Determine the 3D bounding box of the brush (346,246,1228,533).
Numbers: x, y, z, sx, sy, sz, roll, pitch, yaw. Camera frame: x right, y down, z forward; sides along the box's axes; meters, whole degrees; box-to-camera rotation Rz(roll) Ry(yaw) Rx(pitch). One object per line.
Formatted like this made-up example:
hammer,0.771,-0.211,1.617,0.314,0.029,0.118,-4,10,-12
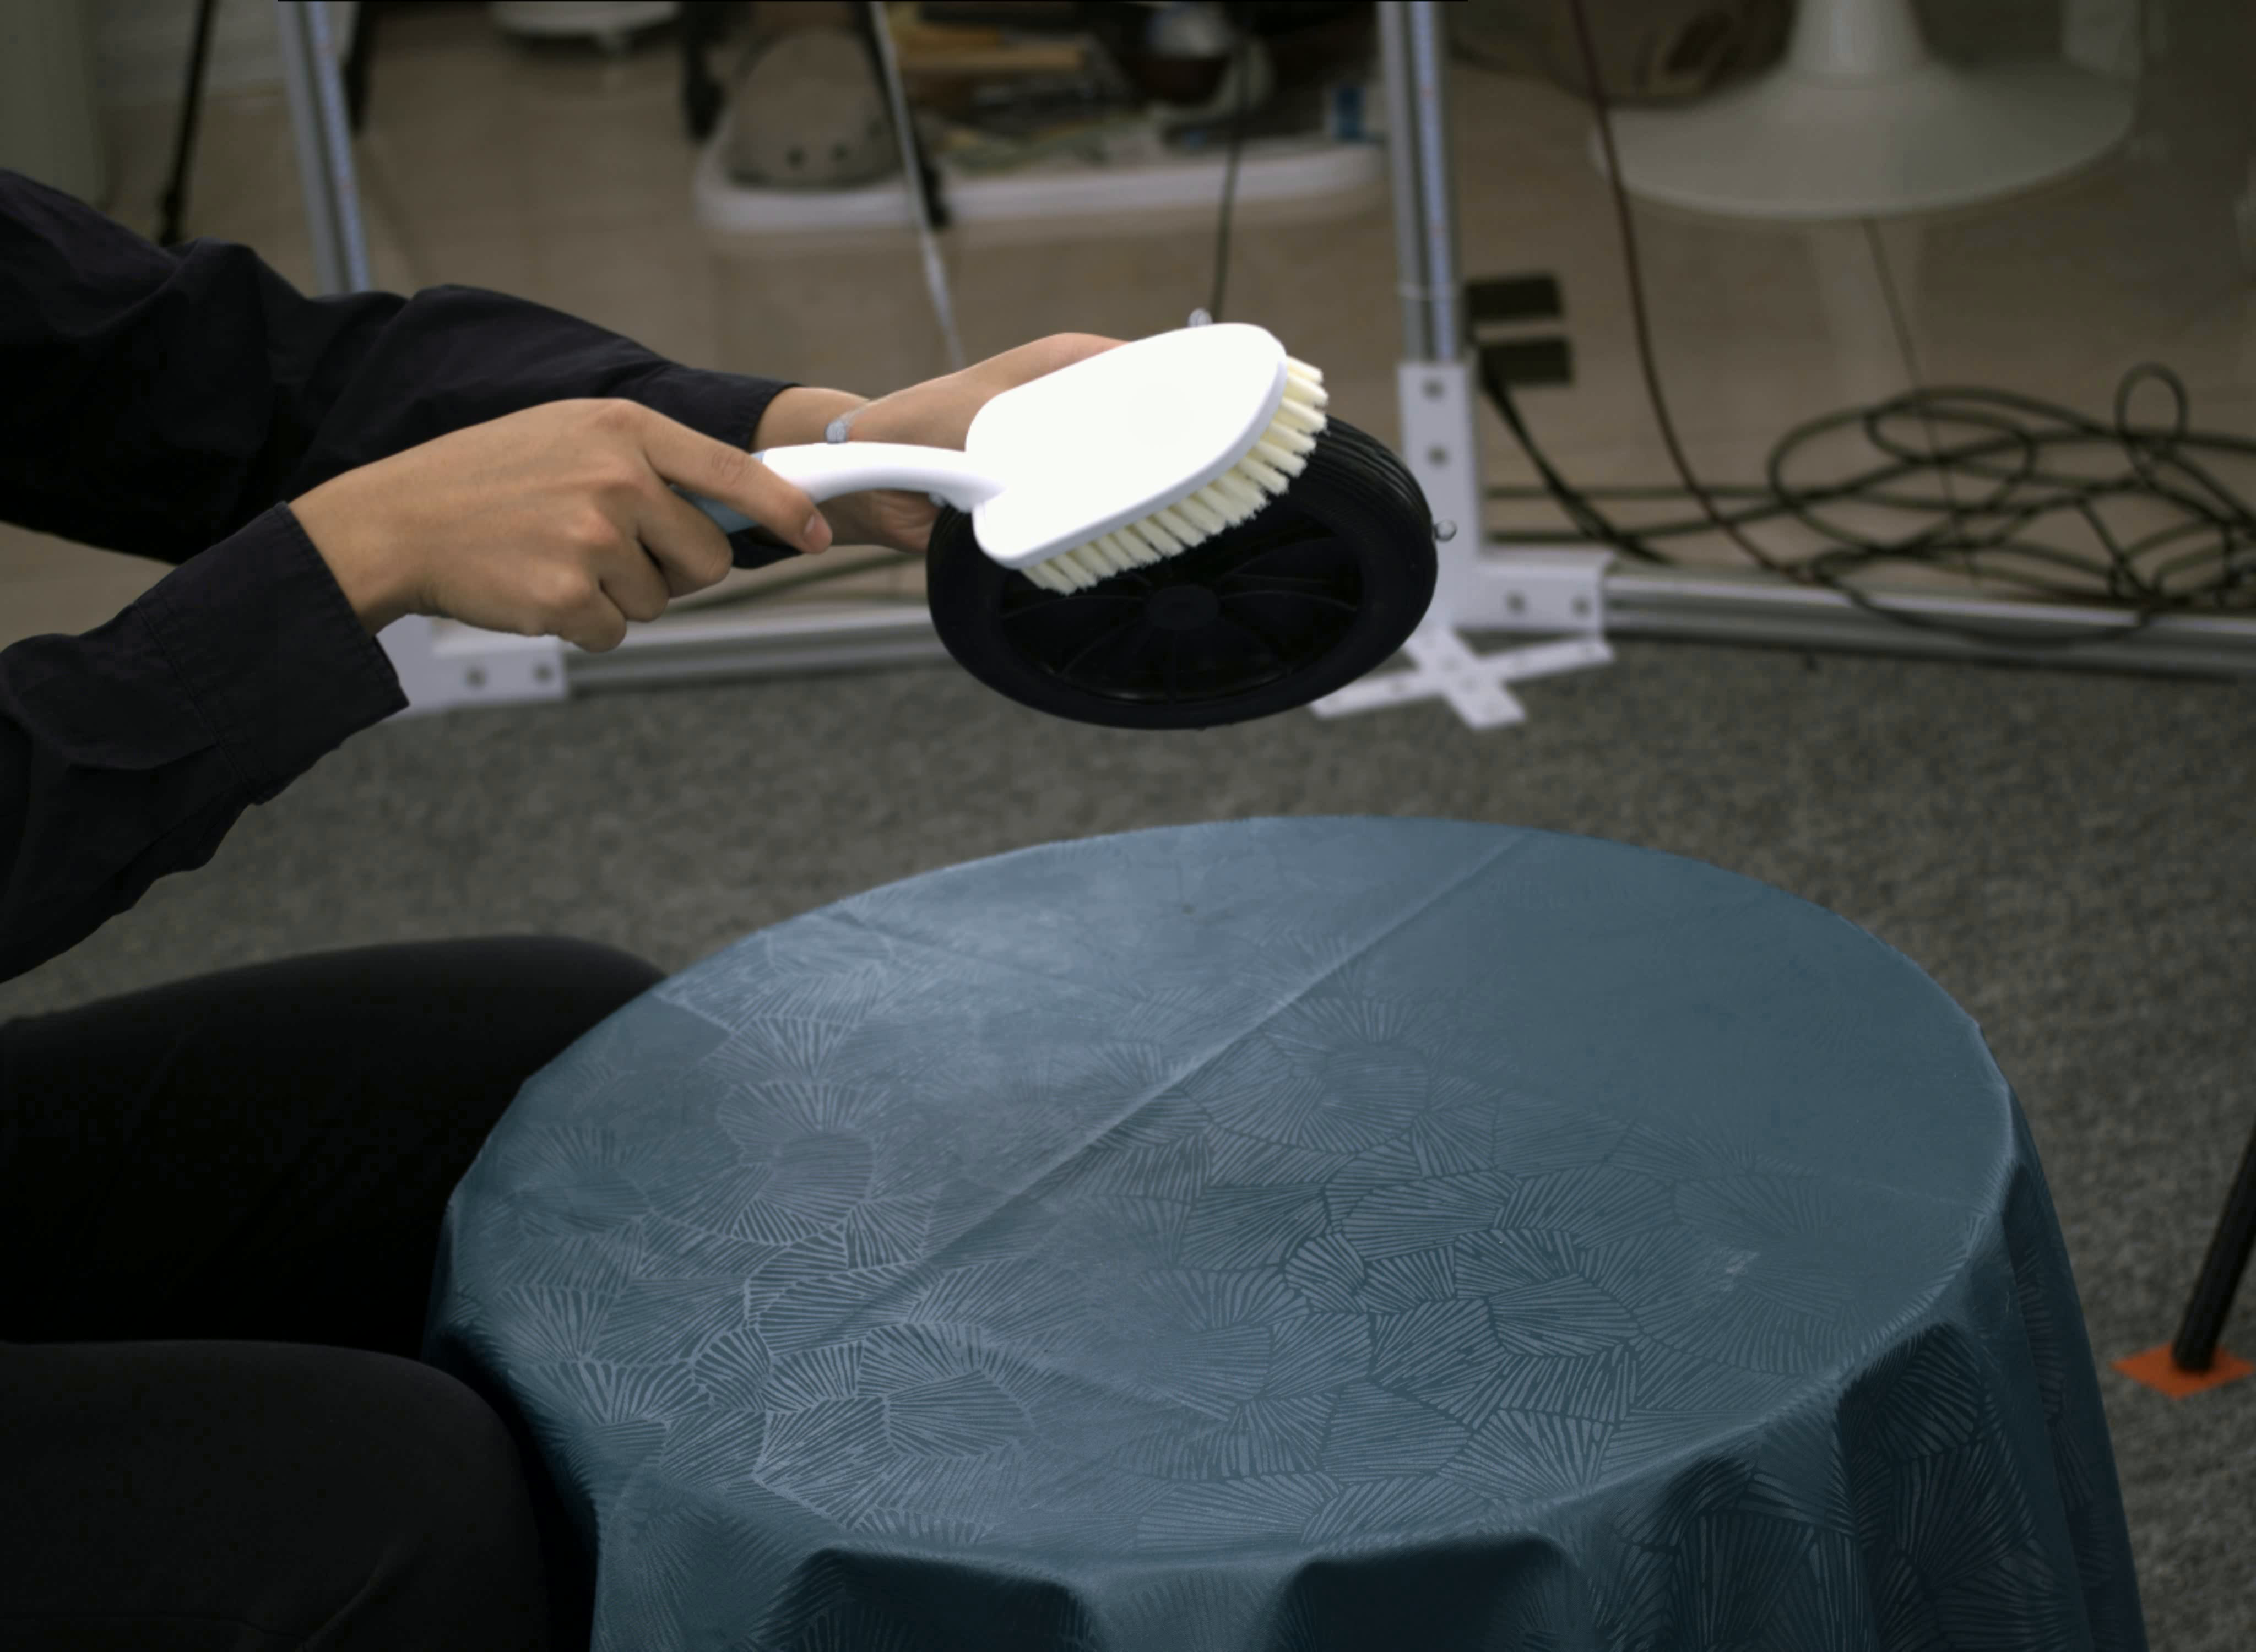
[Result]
brush,-0.118,-0.142,2.003,0.325,0.086,0.082,-14,27,14

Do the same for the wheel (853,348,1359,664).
wheel,-0.010,-0.137,2.119,0.190,0.190,0.078,9,57,-22
